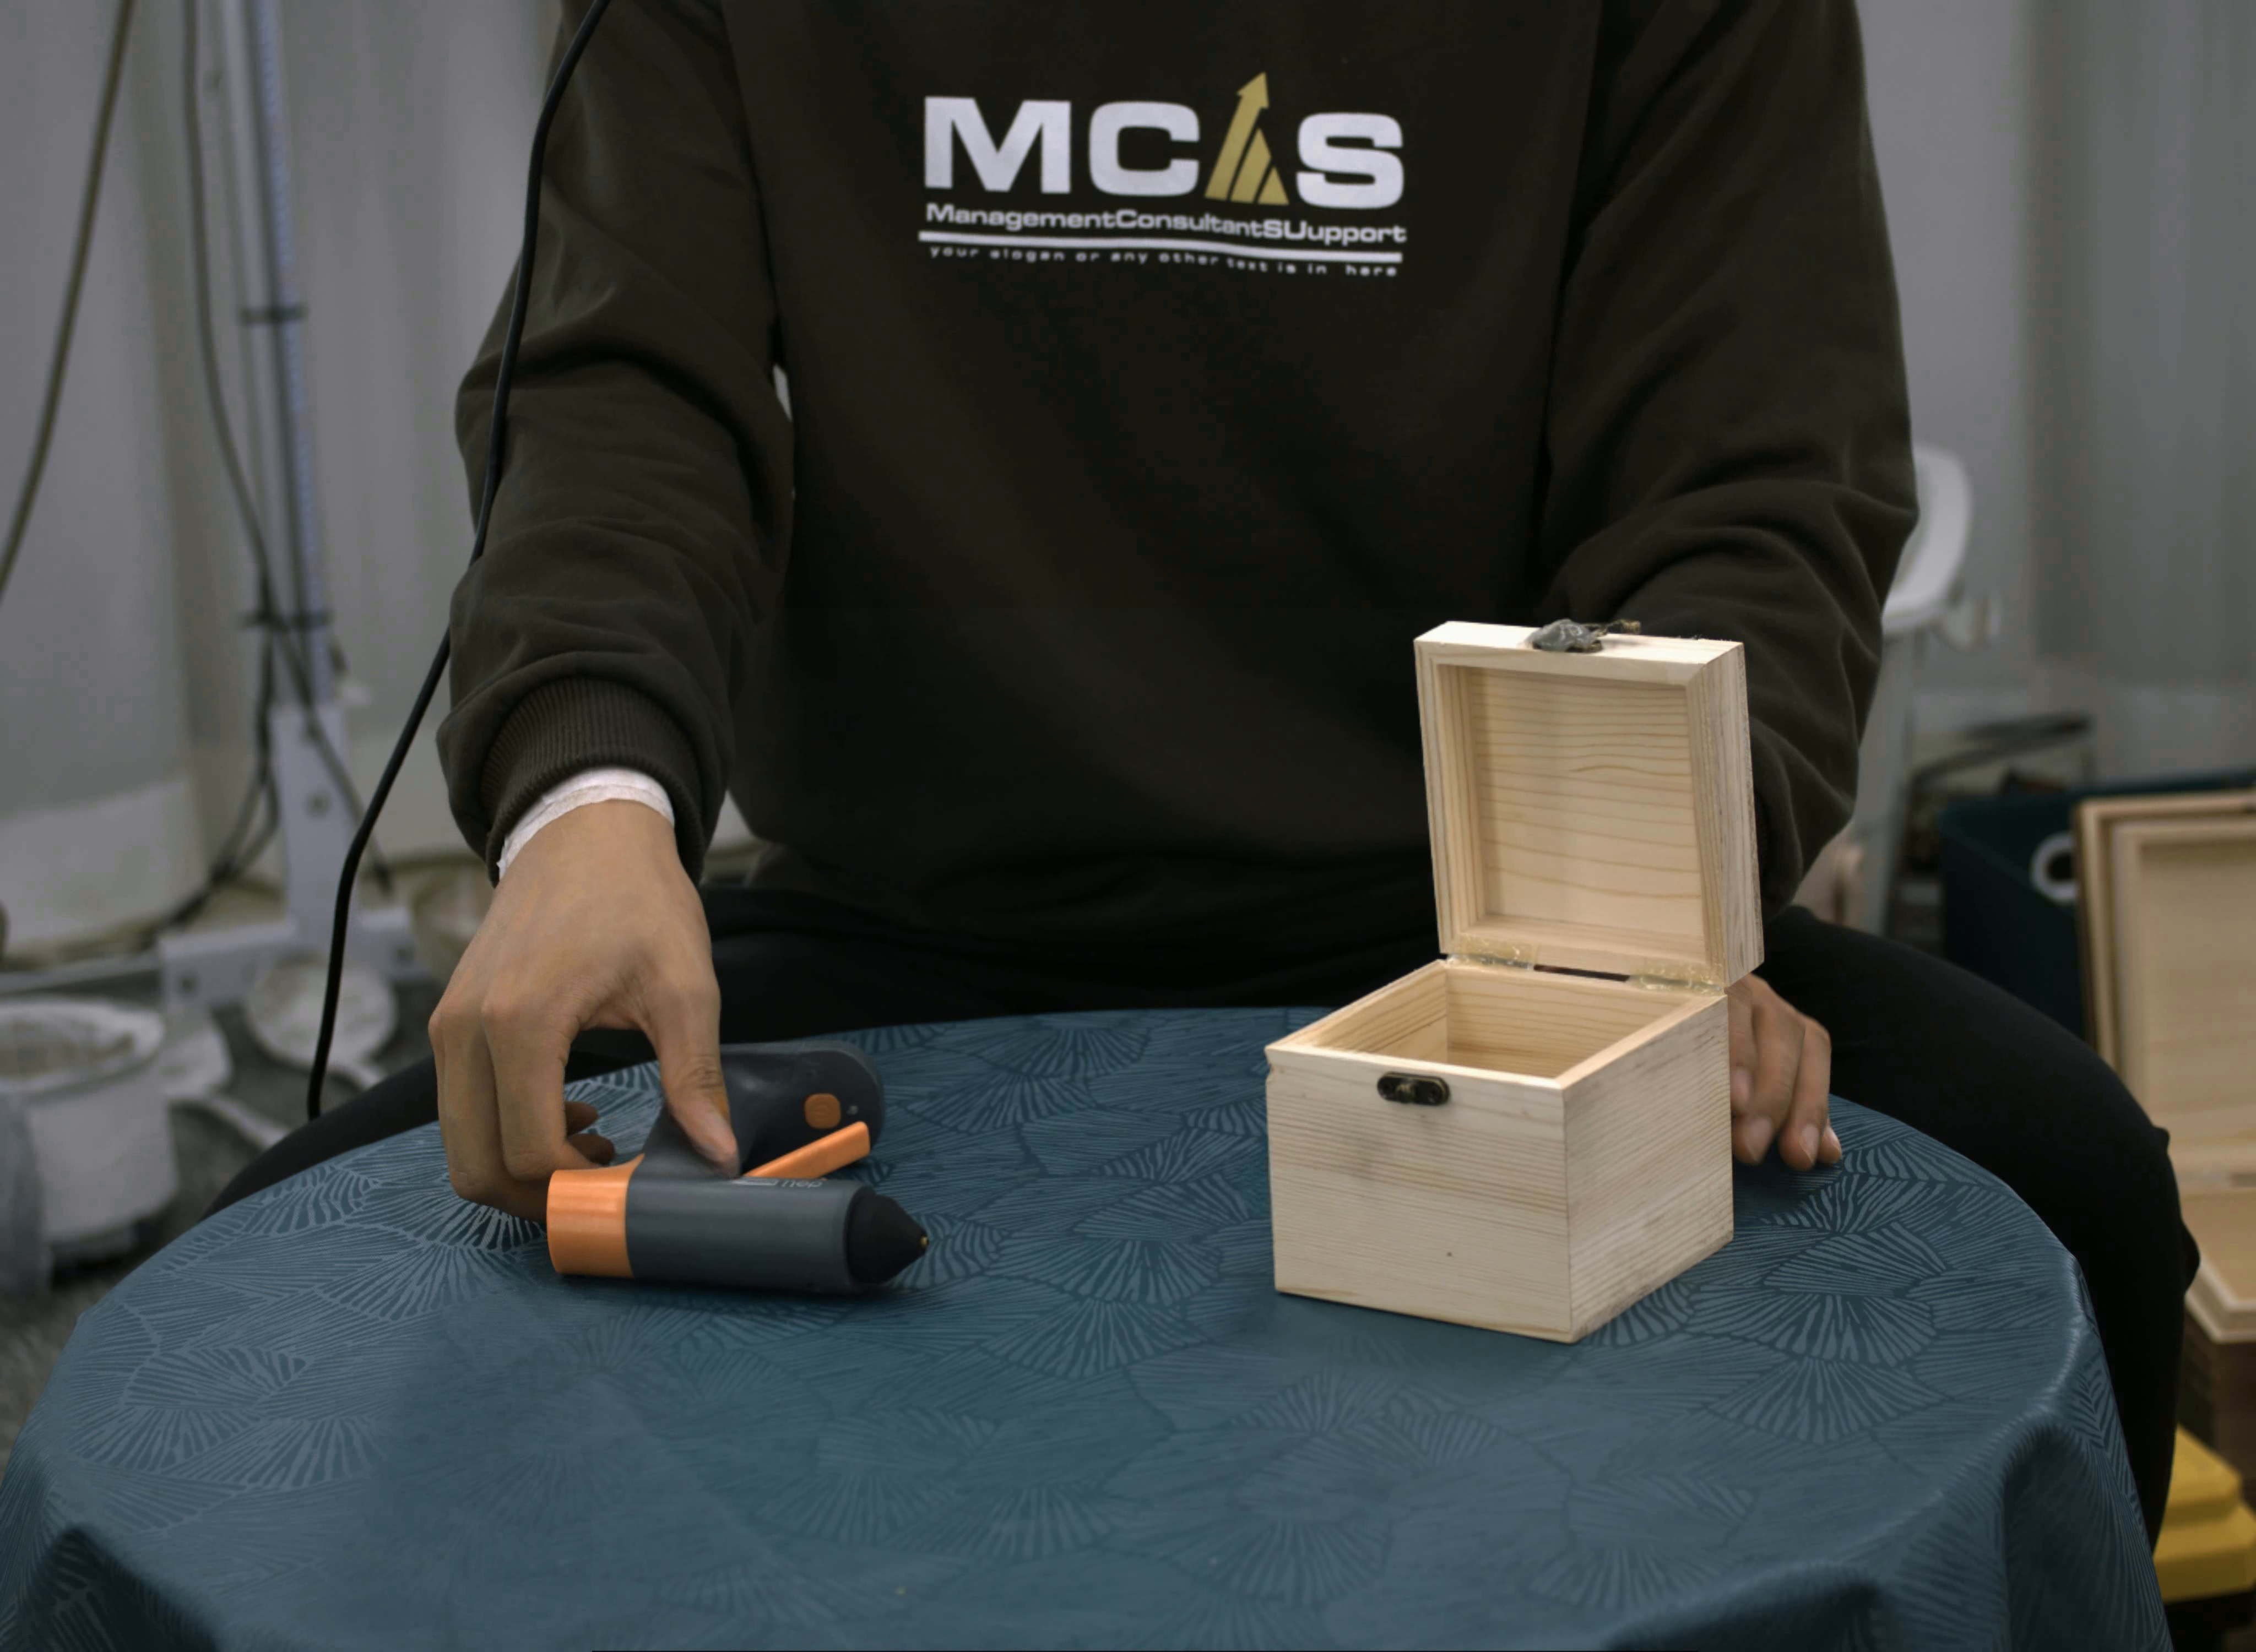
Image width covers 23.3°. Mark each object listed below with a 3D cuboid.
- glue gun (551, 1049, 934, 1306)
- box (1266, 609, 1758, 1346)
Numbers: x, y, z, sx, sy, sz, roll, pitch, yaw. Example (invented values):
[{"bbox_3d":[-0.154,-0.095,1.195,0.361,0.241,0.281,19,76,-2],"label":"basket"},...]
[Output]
[{"bbox_3d":[-0.113,0.111,1.691,0.117,0.041,0.141,0,17,3],"label":"glue gun"},{"bbox_3d":[0.112,0.040,1.614,0.103,0.184,0.134,6,18,32],"label":"box"}]
